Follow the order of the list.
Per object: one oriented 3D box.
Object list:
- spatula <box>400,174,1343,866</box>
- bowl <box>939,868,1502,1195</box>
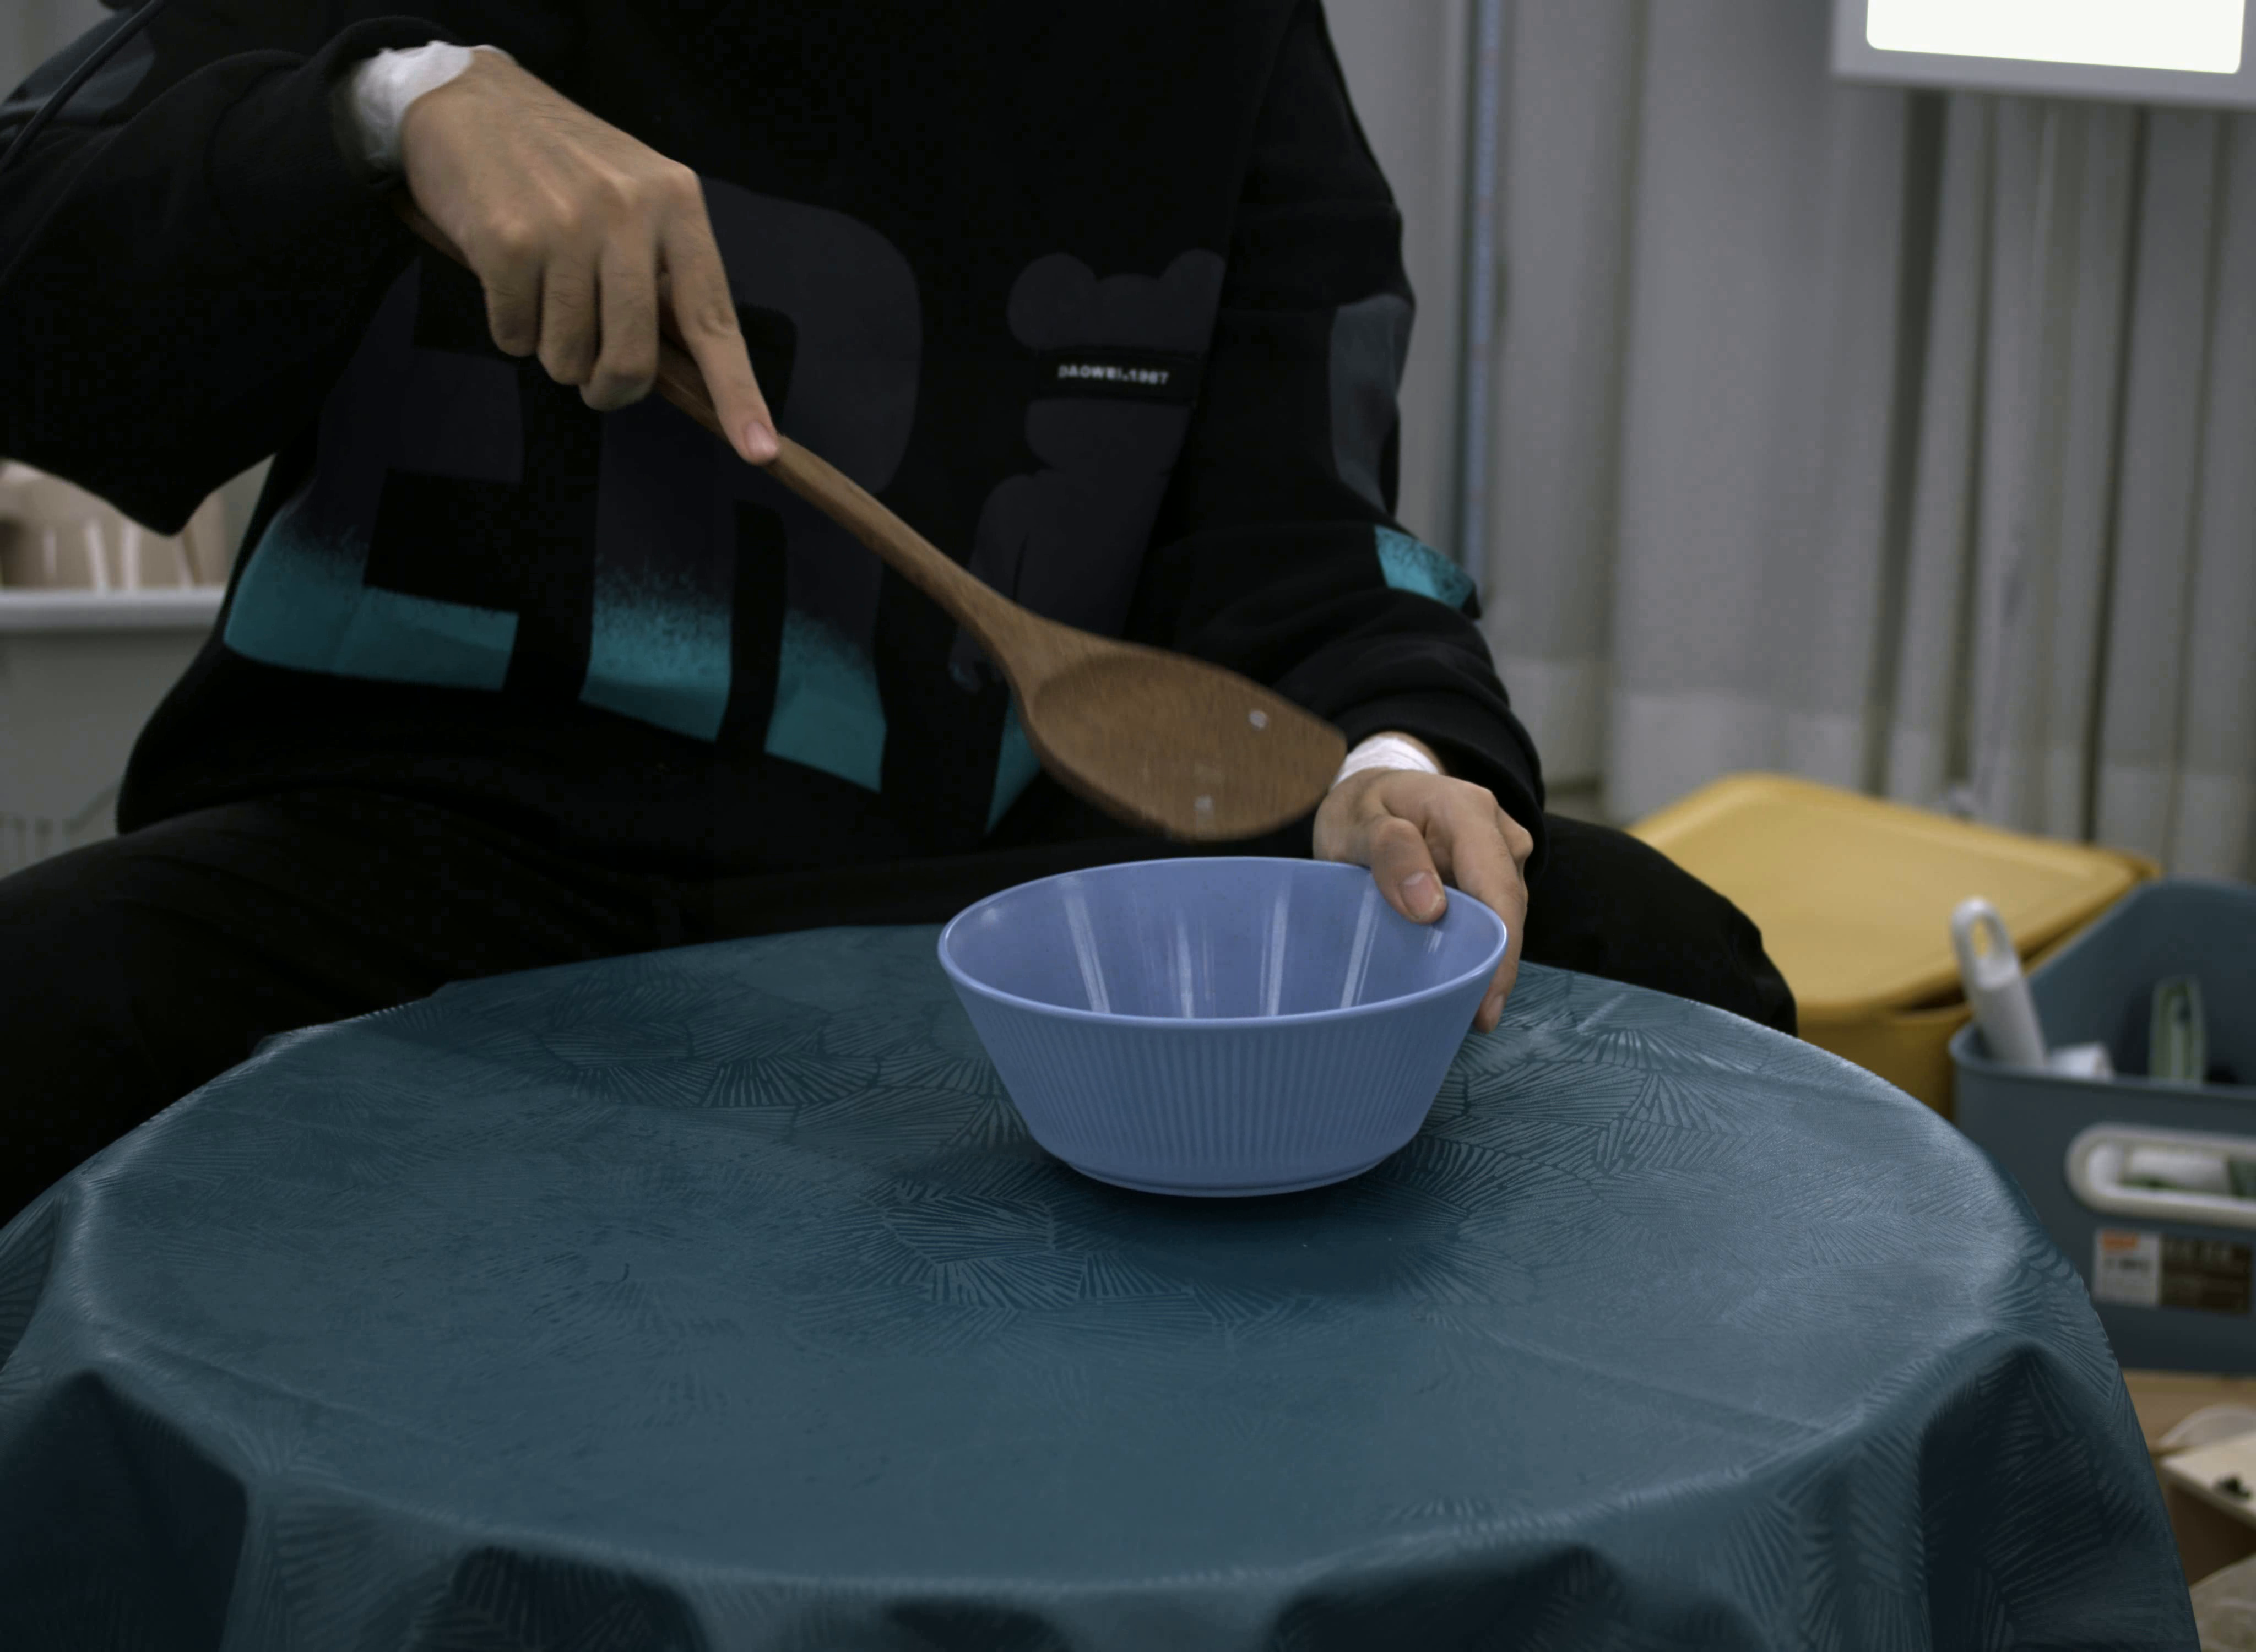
[{"bbox_3d":[-0.093,-0.104,1.668,0.382,0.016,0.096,38,37,18],"label":"spatula"},{"bbox_3d":[0.029,0.066,1.636,0.175,0.071,0.175,0,15,1],"label":"bowl"}]
